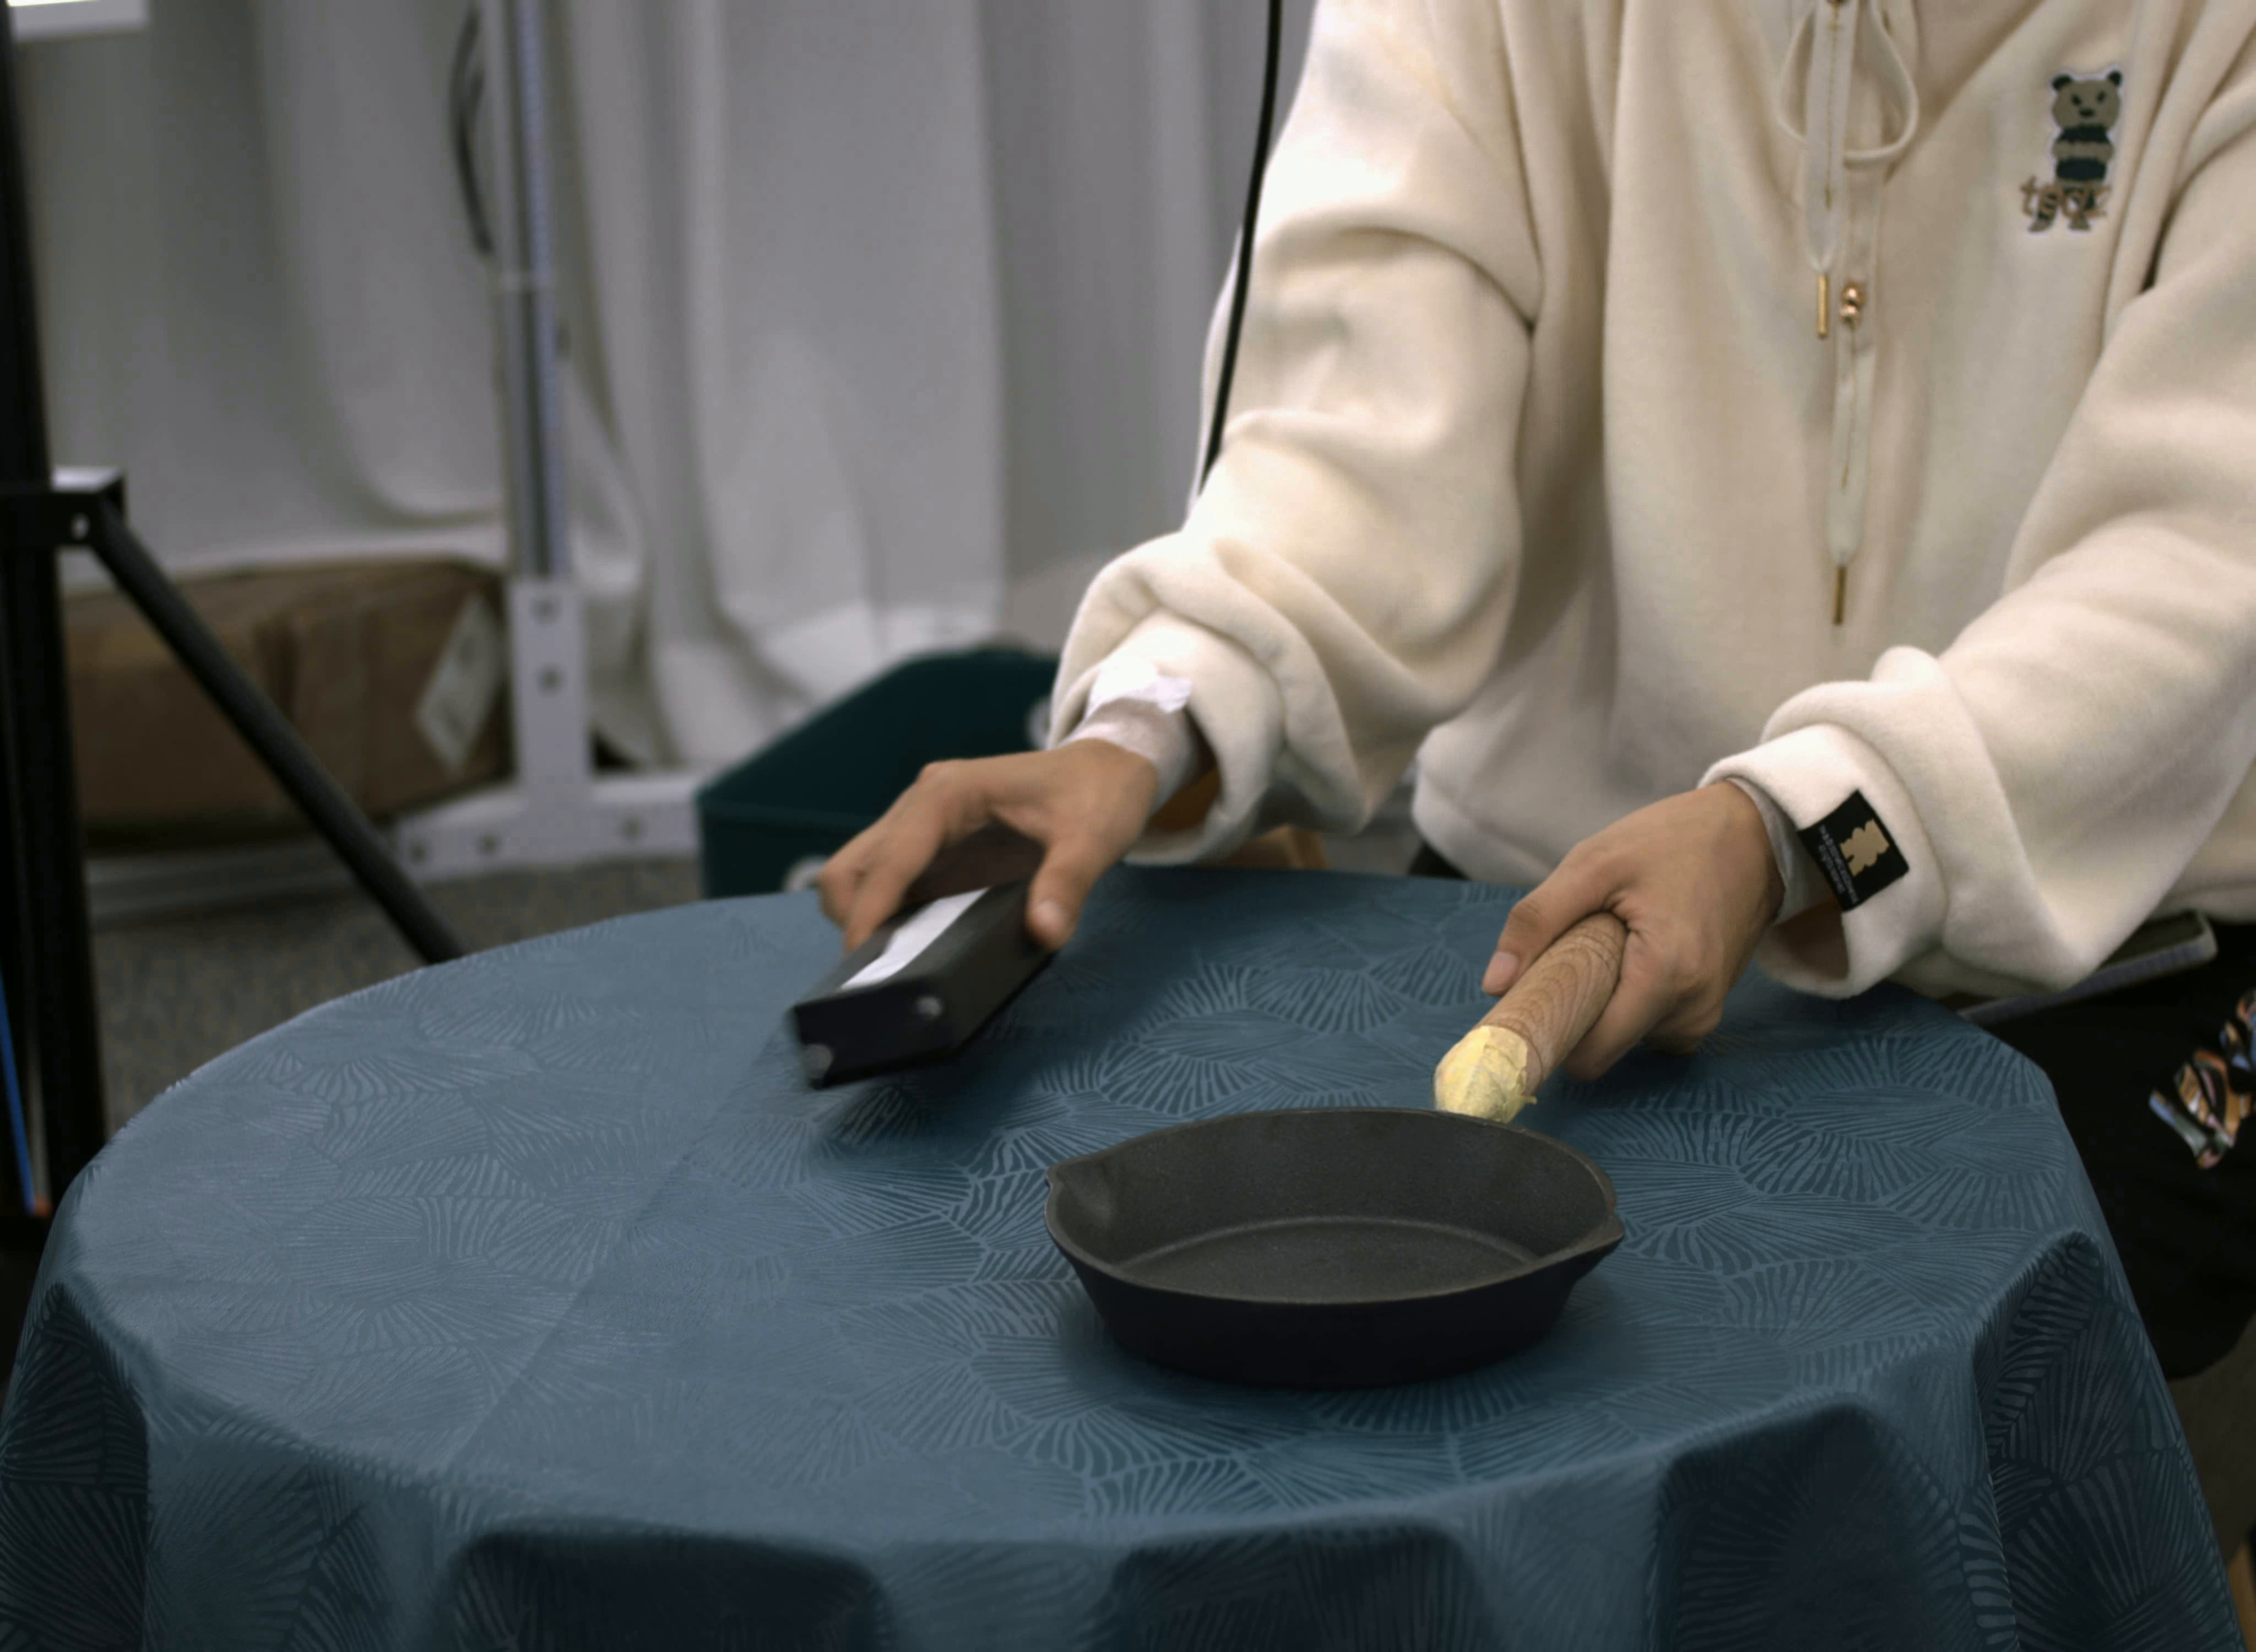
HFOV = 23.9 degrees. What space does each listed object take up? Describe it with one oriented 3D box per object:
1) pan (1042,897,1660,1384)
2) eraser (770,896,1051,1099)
[{"bbox_3d":[0.092,0.087,1.522,0.171,0.049,0.319,4,18,27],"label":"pan"},{"bbox_3d":[-0.066,0.053,1.662,0.054,0.030,0.124,-11,10,19],"label":"eraser"}]
